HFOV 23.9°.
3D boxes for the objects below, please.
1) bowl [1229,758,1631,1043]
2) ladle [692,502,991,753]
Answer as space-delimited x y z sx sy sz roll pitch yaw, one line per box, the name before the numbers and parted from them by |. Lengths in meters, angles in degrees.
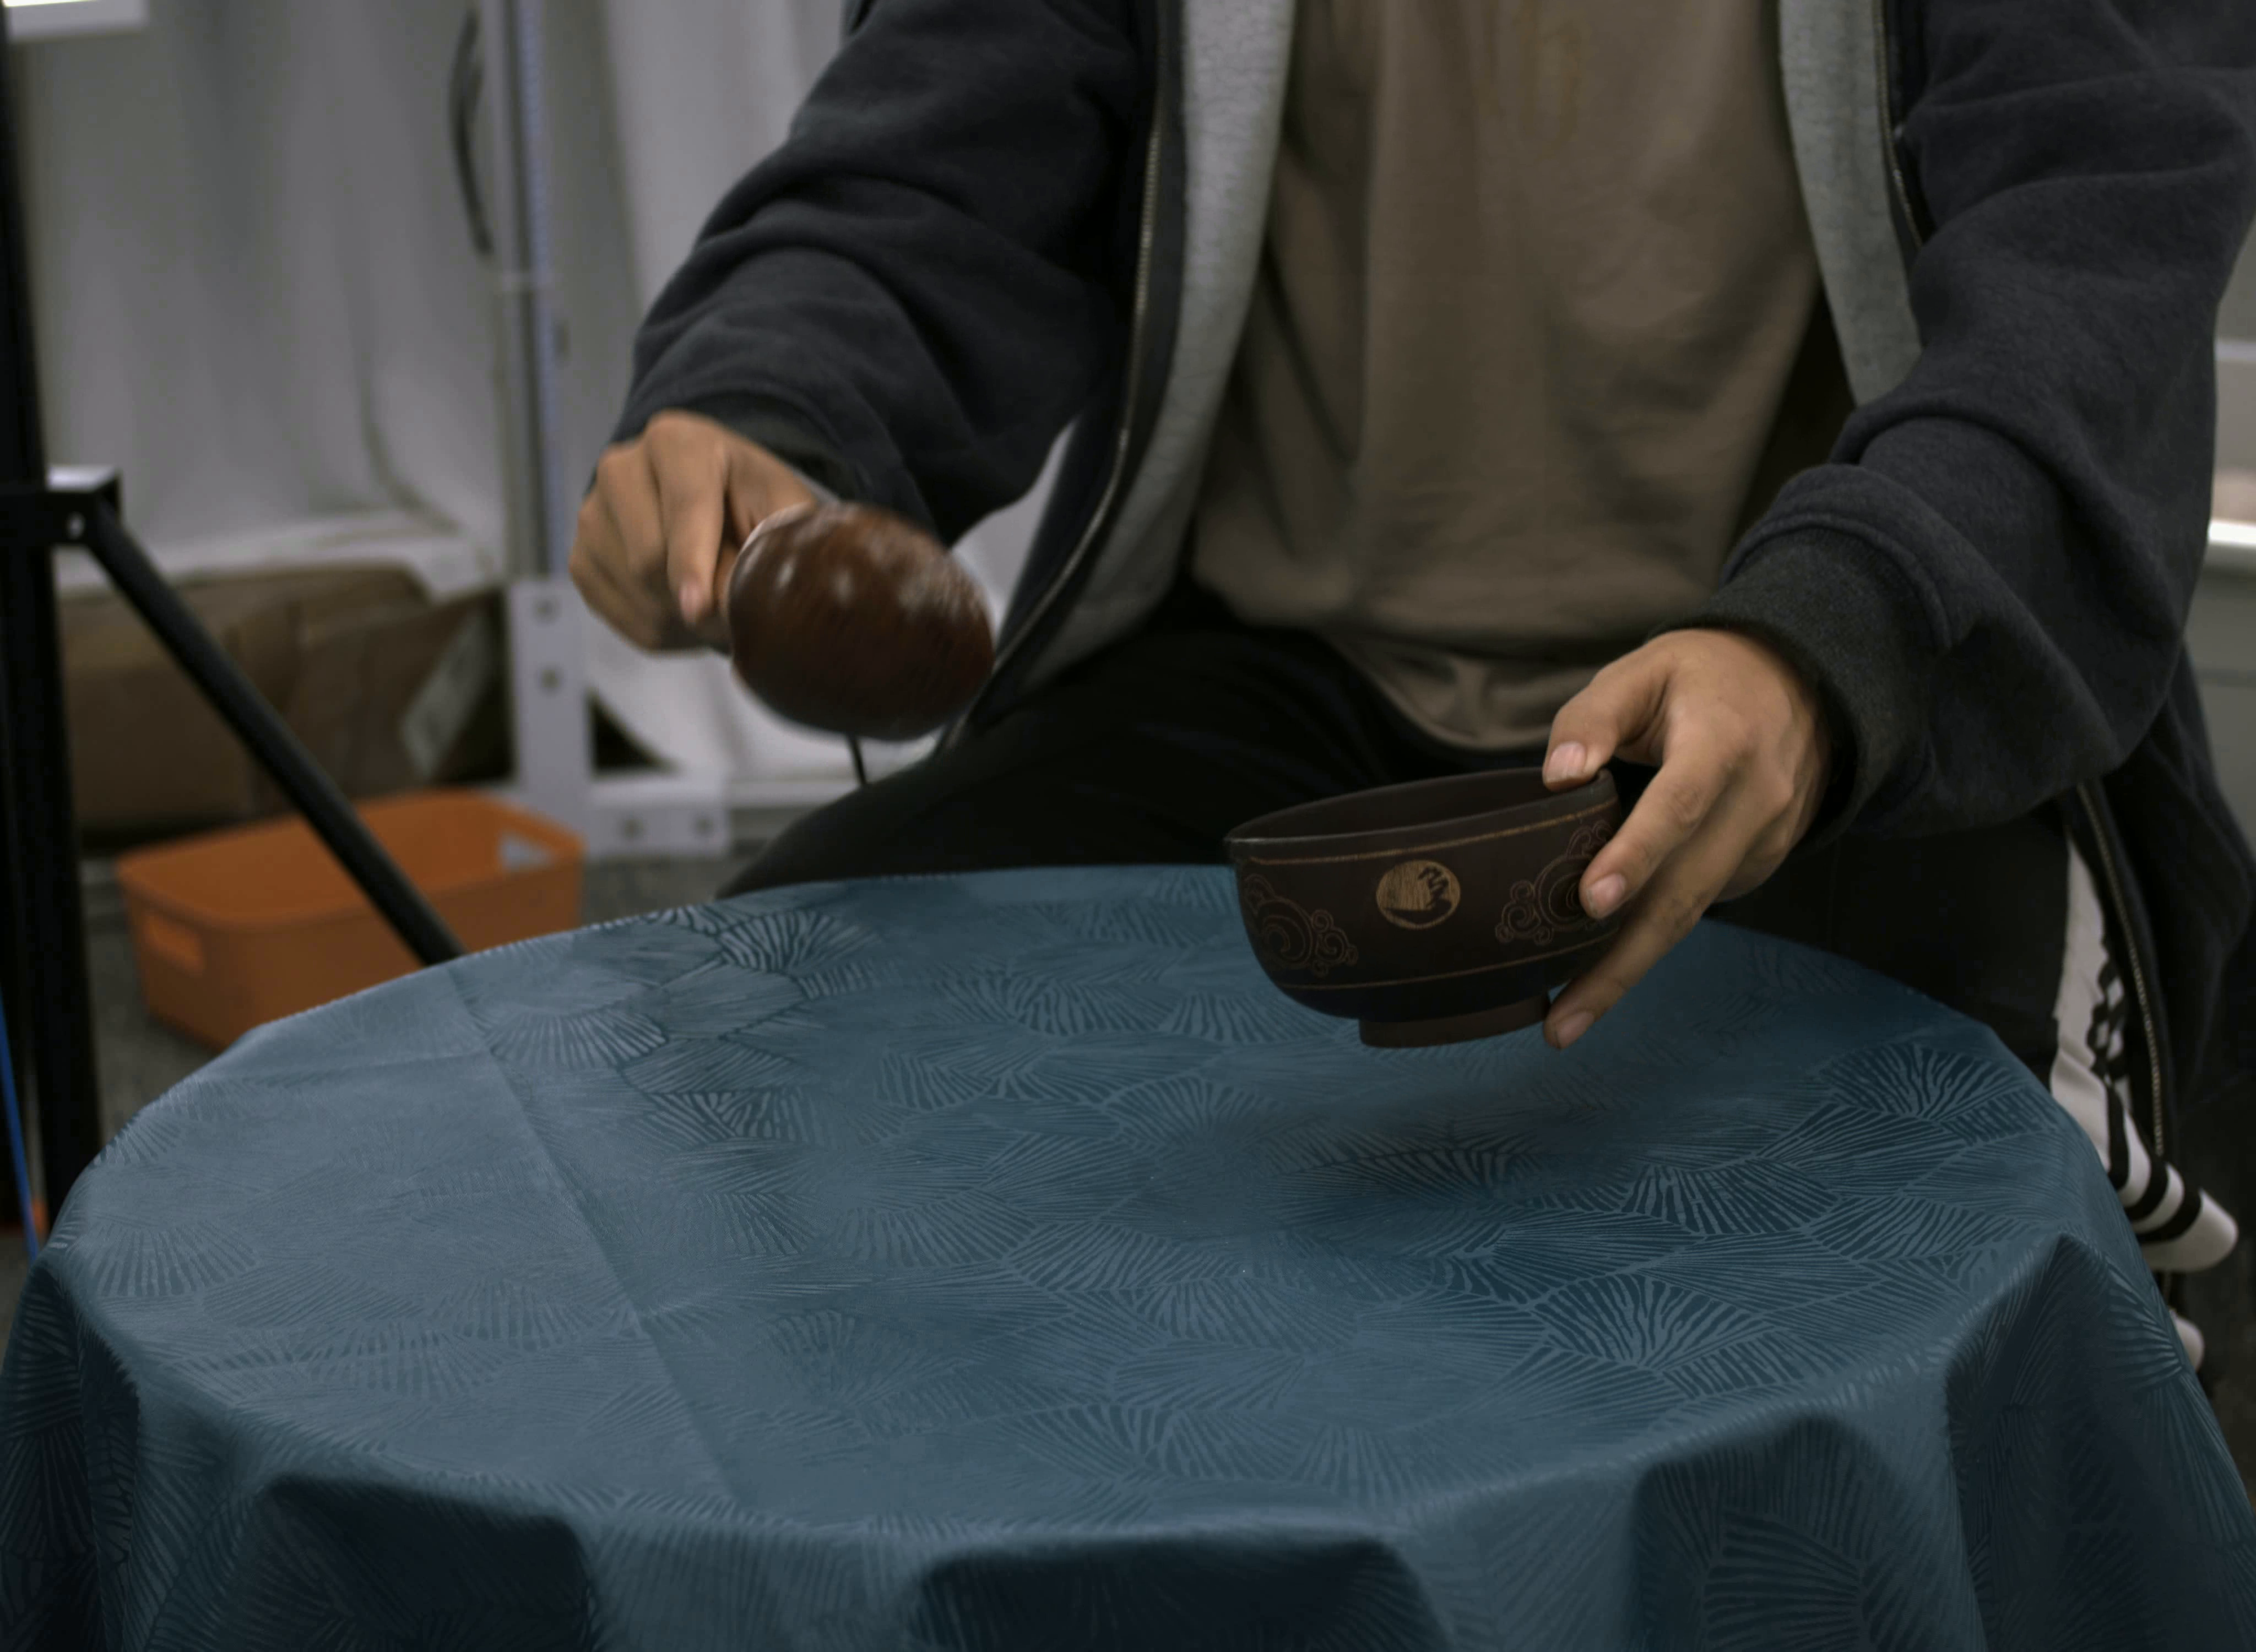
bowl | 0.092 0.024 1.562 0.117 0.070 0.118 -9 5 -1
ladle | -0.096 -0.076 1.634 0.077 0.081 0.276 -45 14 3
